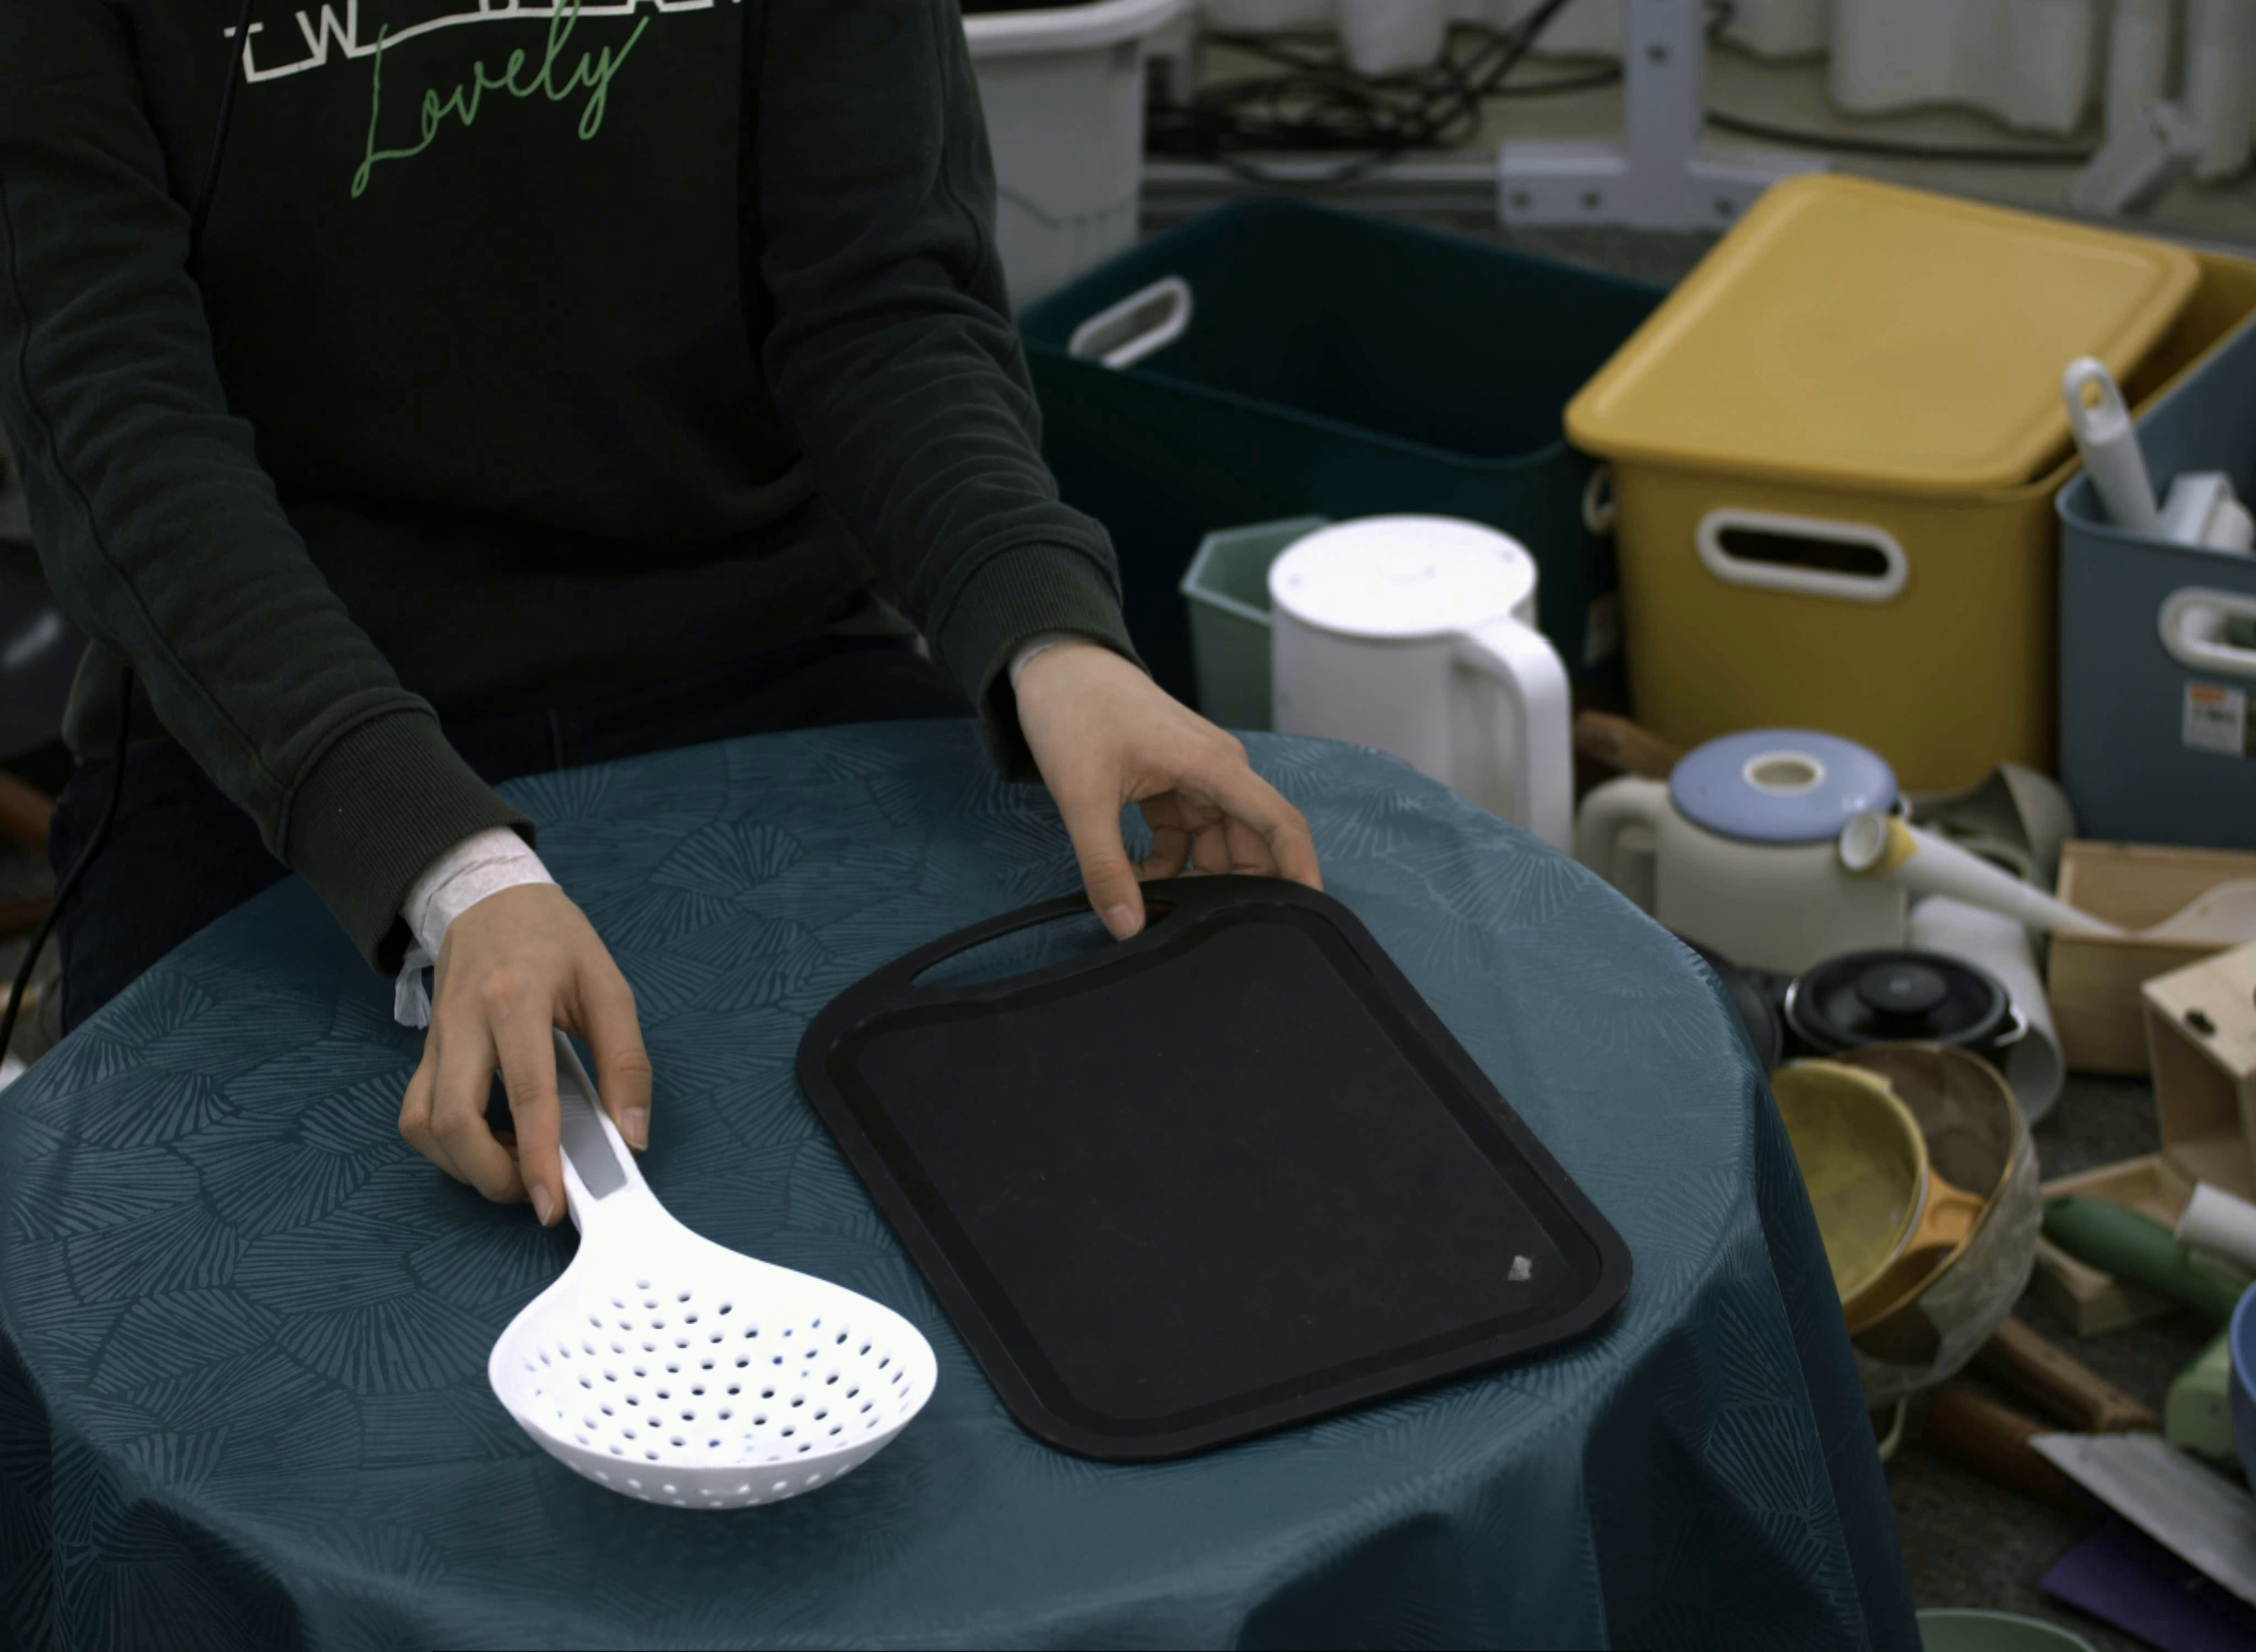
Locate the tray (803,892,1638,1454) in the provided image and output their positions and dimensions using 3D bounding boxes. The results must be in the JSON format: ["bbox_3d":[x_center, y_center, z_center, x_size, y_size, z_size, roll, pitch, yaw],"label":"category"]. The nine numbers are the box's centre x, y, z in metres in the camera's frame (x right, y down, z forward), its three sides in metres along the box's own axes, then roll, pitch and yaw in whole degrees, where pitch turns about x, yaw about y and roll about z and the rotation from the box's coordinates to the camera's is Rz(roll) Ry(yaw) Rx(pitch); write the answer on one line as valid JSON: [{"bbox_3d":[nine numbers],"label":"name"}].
[{"bbox_3d":[0.020,0.105,1.870,0.211,0.009,0.328,-14,30,-16],"label":"tray"}]

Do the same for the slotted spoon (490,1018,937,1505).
[{"bbox_3d":[-0.159,0.133,1.804,0.136,0.045,0.353,-2,25,-18],"label":"slotted spoon"}]
